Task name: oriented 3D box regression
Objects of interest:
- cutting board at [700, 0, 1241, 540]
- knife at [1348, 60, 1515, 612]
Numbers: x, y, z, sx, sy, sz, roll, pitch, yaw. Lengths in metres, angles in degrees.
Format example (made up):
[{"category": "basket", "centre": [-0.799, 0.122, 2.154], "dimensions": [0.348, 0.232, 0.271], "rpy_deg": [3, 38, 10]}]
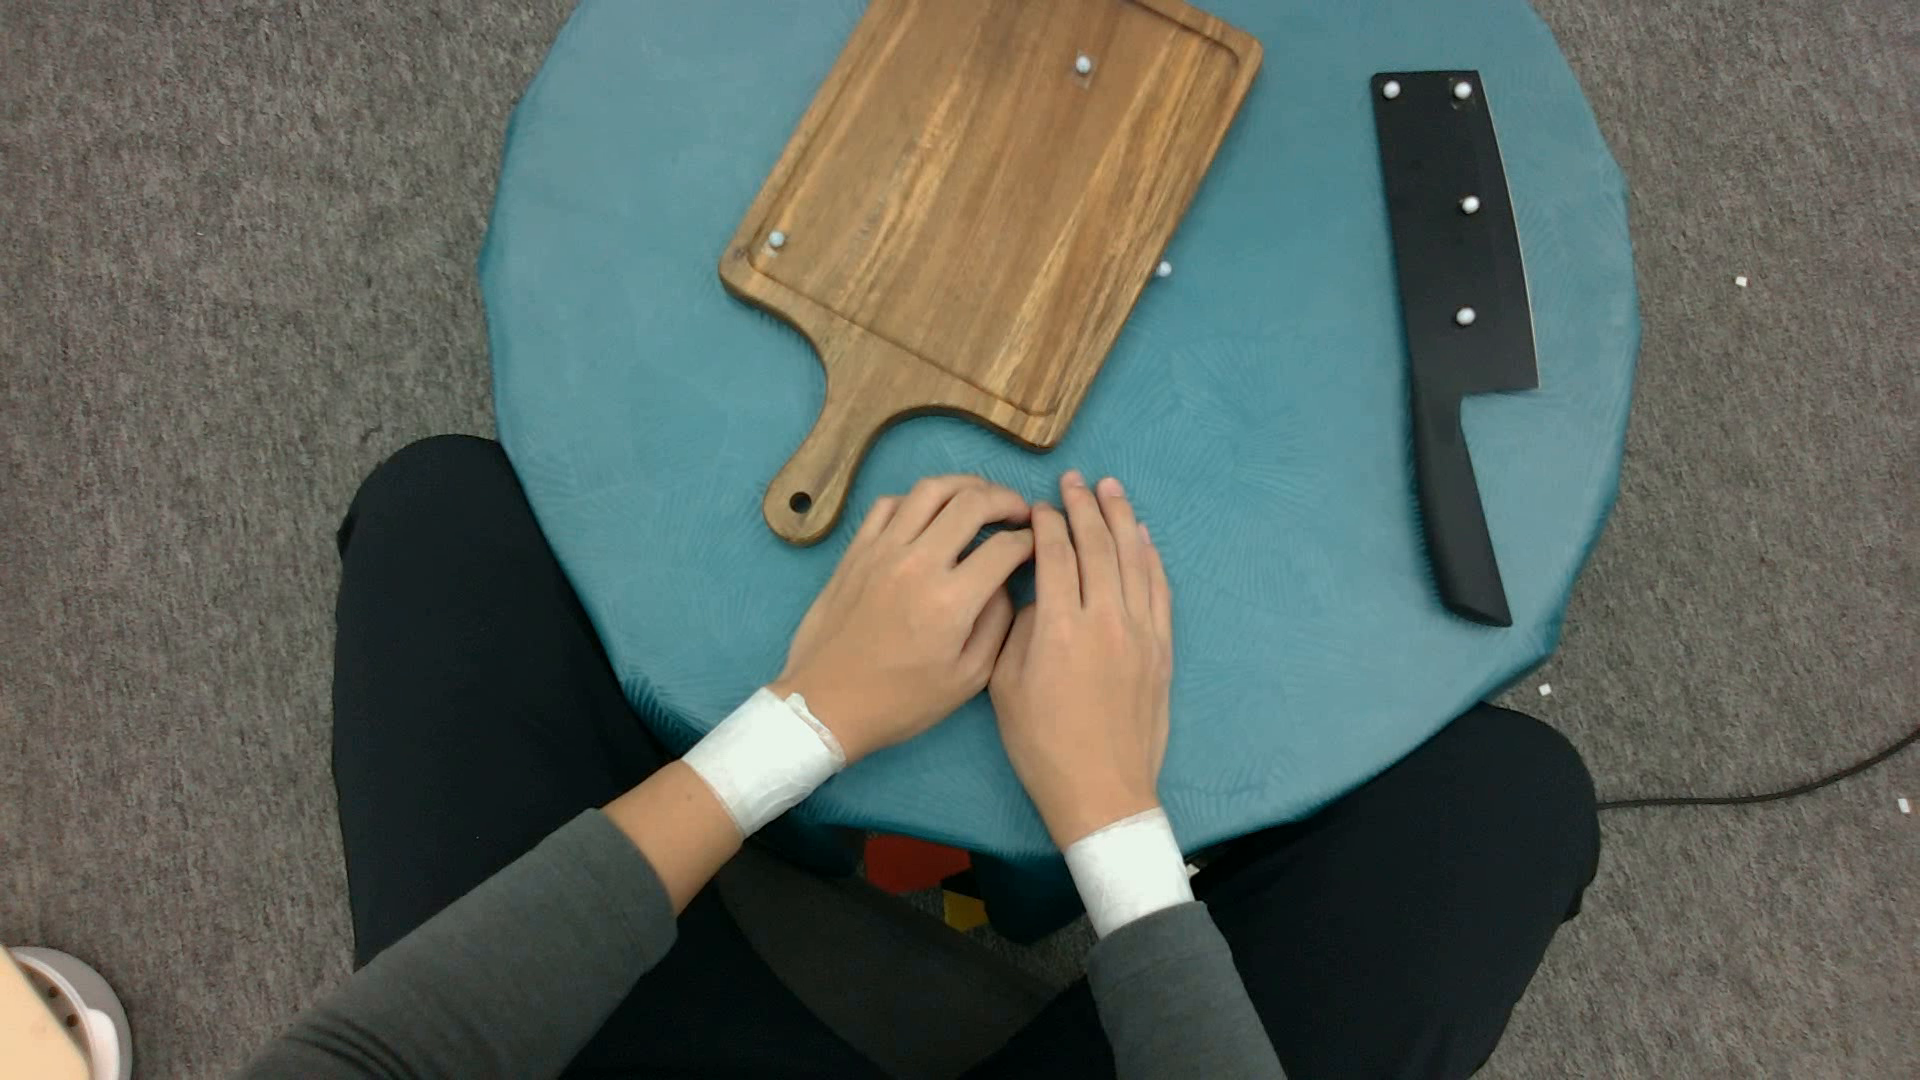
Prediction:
[{"category": "cutting board", "centre": [-0.014, -0.158, 0.708], "dimensions": [0.201, 0.023, 0.353], "rpy_deg": [27, 80, 3]}, {"category": "knife", "centre": [0.250, -0.113, 0.716], "dimensions": [0.081, 0.021, 0.303], "rpy_deg": [0, 78, -3]}]
